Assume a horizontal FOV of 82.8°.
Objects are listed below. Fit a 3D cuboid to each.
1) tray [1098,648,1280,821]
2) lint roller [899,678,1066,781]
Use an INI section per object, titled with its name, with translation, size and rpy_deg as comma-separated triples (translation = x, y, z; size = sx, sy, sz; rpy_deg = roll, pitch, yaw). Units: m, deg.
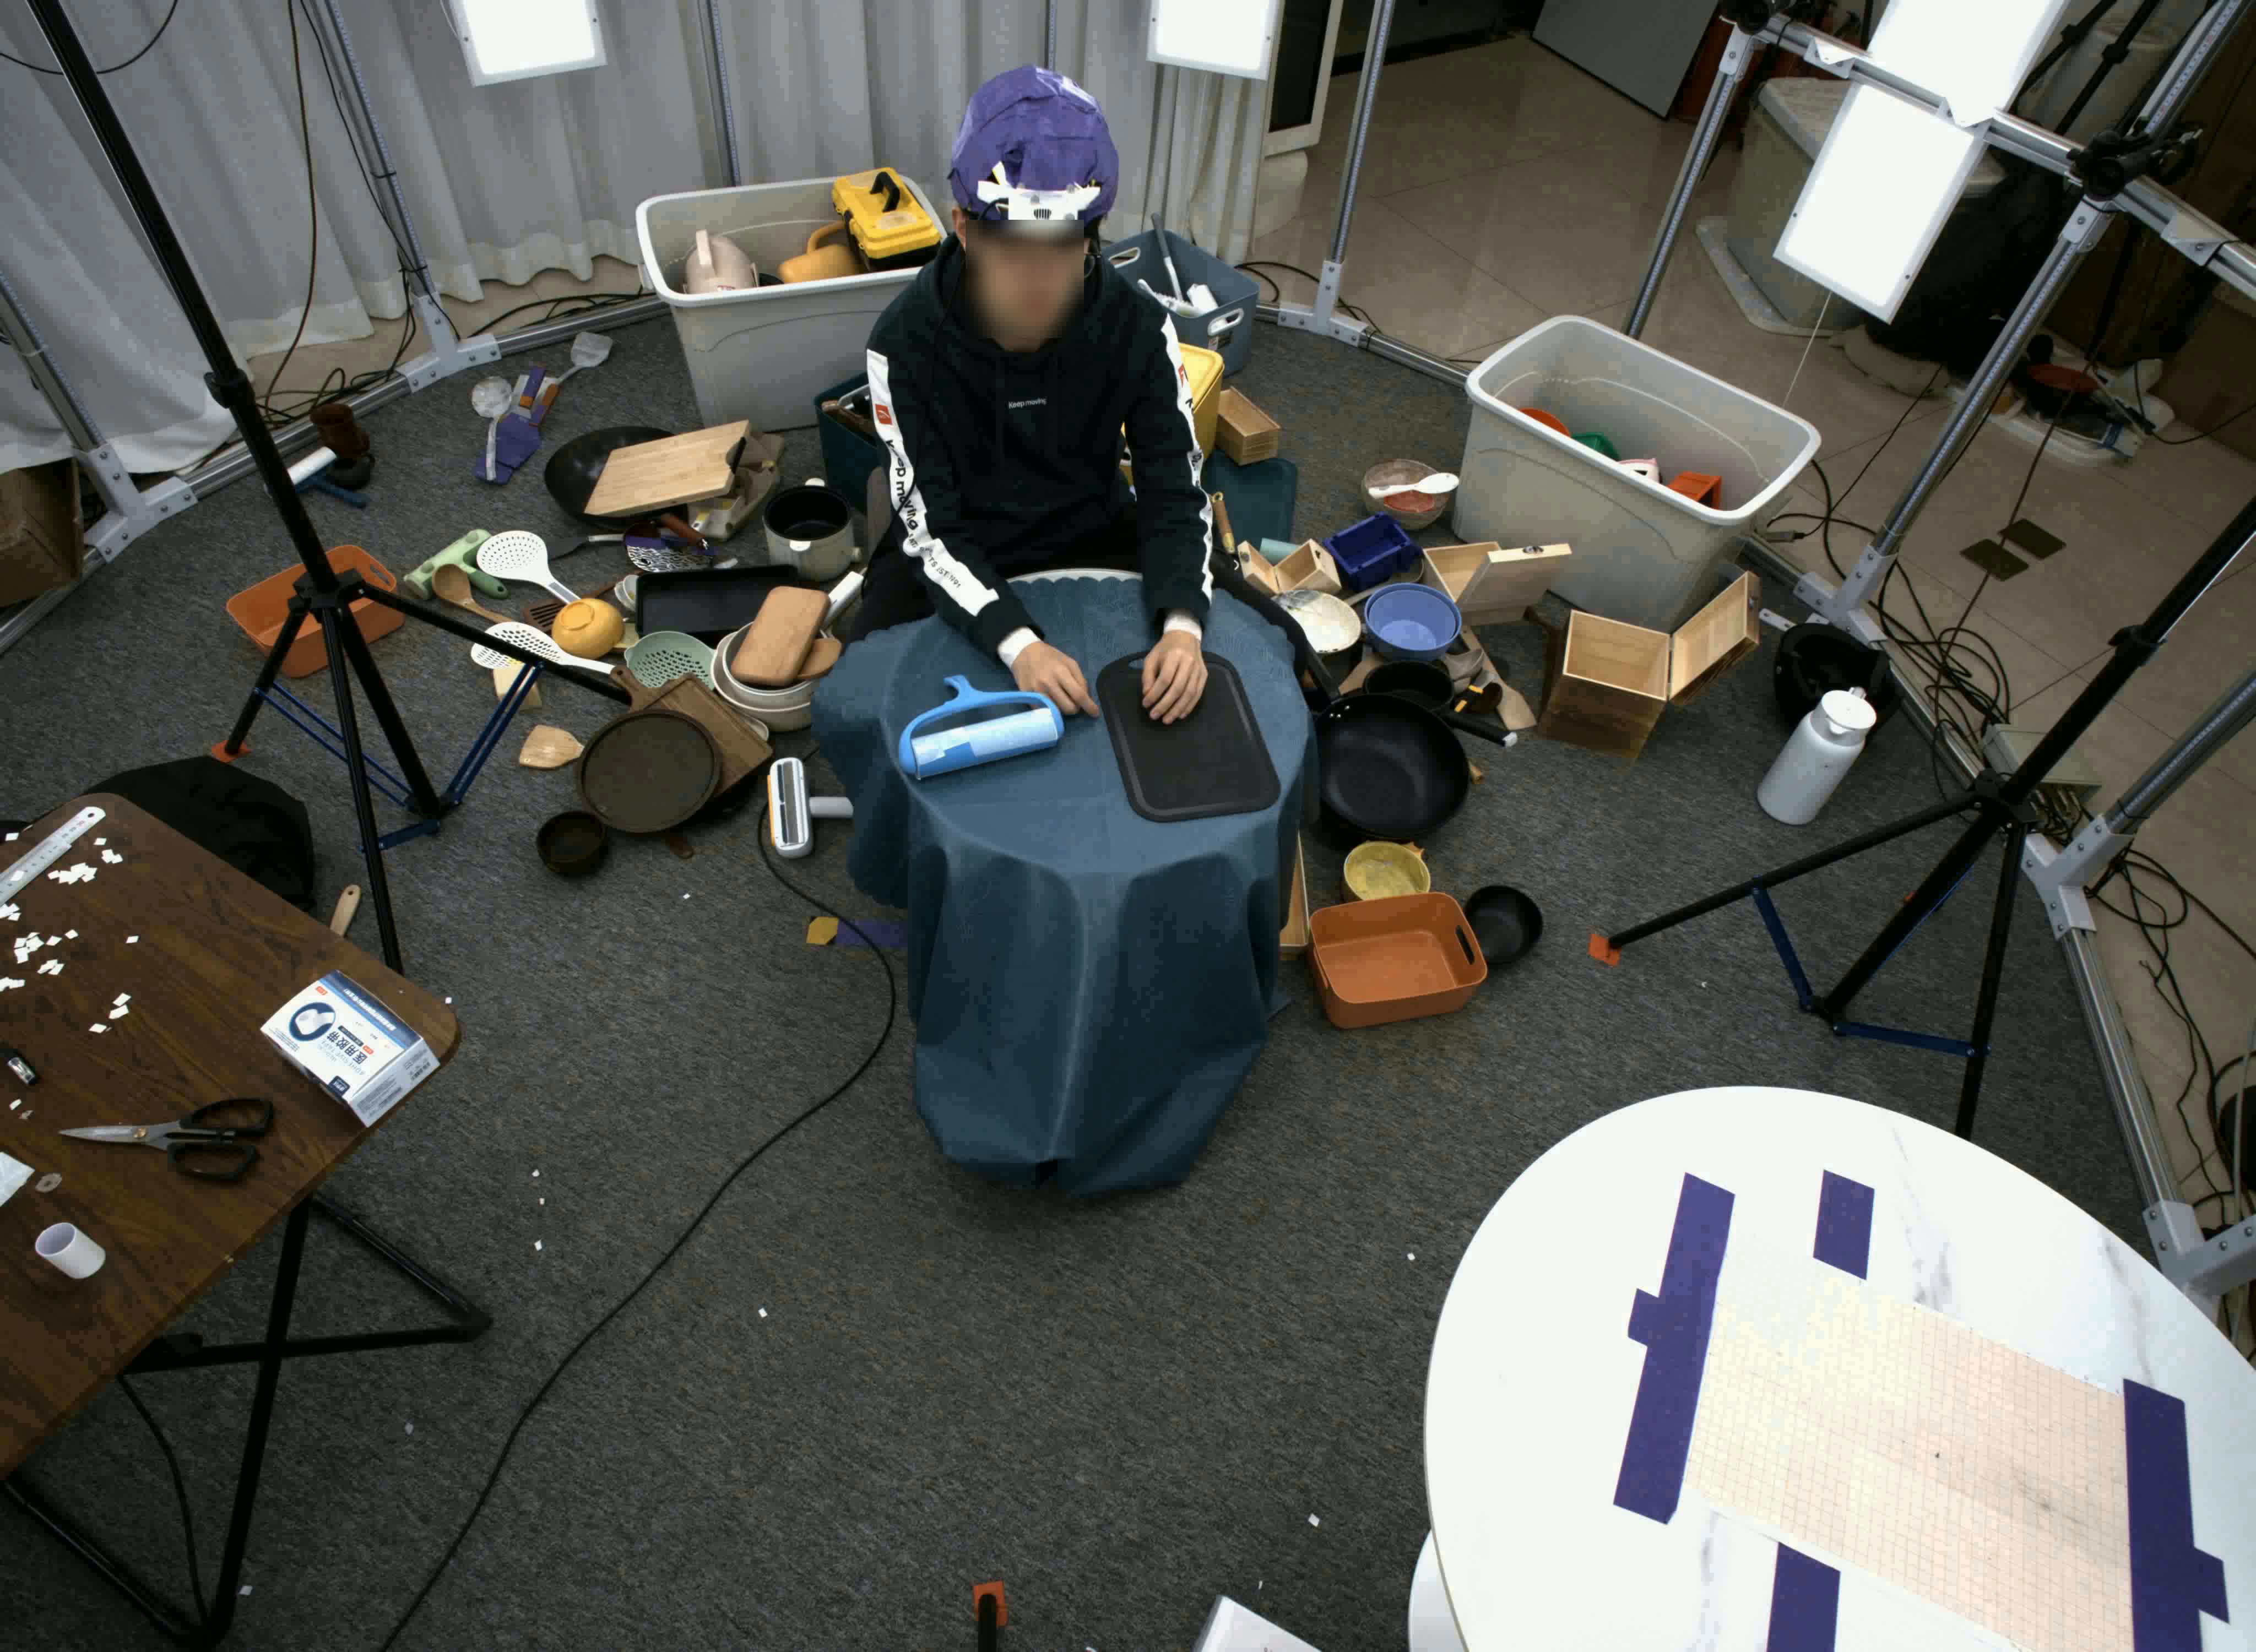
[tray]
translation = 0.078, -0.138, 1.788
size = 0.211, 0.009, 0.333
rpy_deg = -7, 50, -9
[lint roller]
translation = -0.216, -0.155, 1.752
size = 0.229, 0.066, 0.184
rpy_deg = -18, 54, -16
